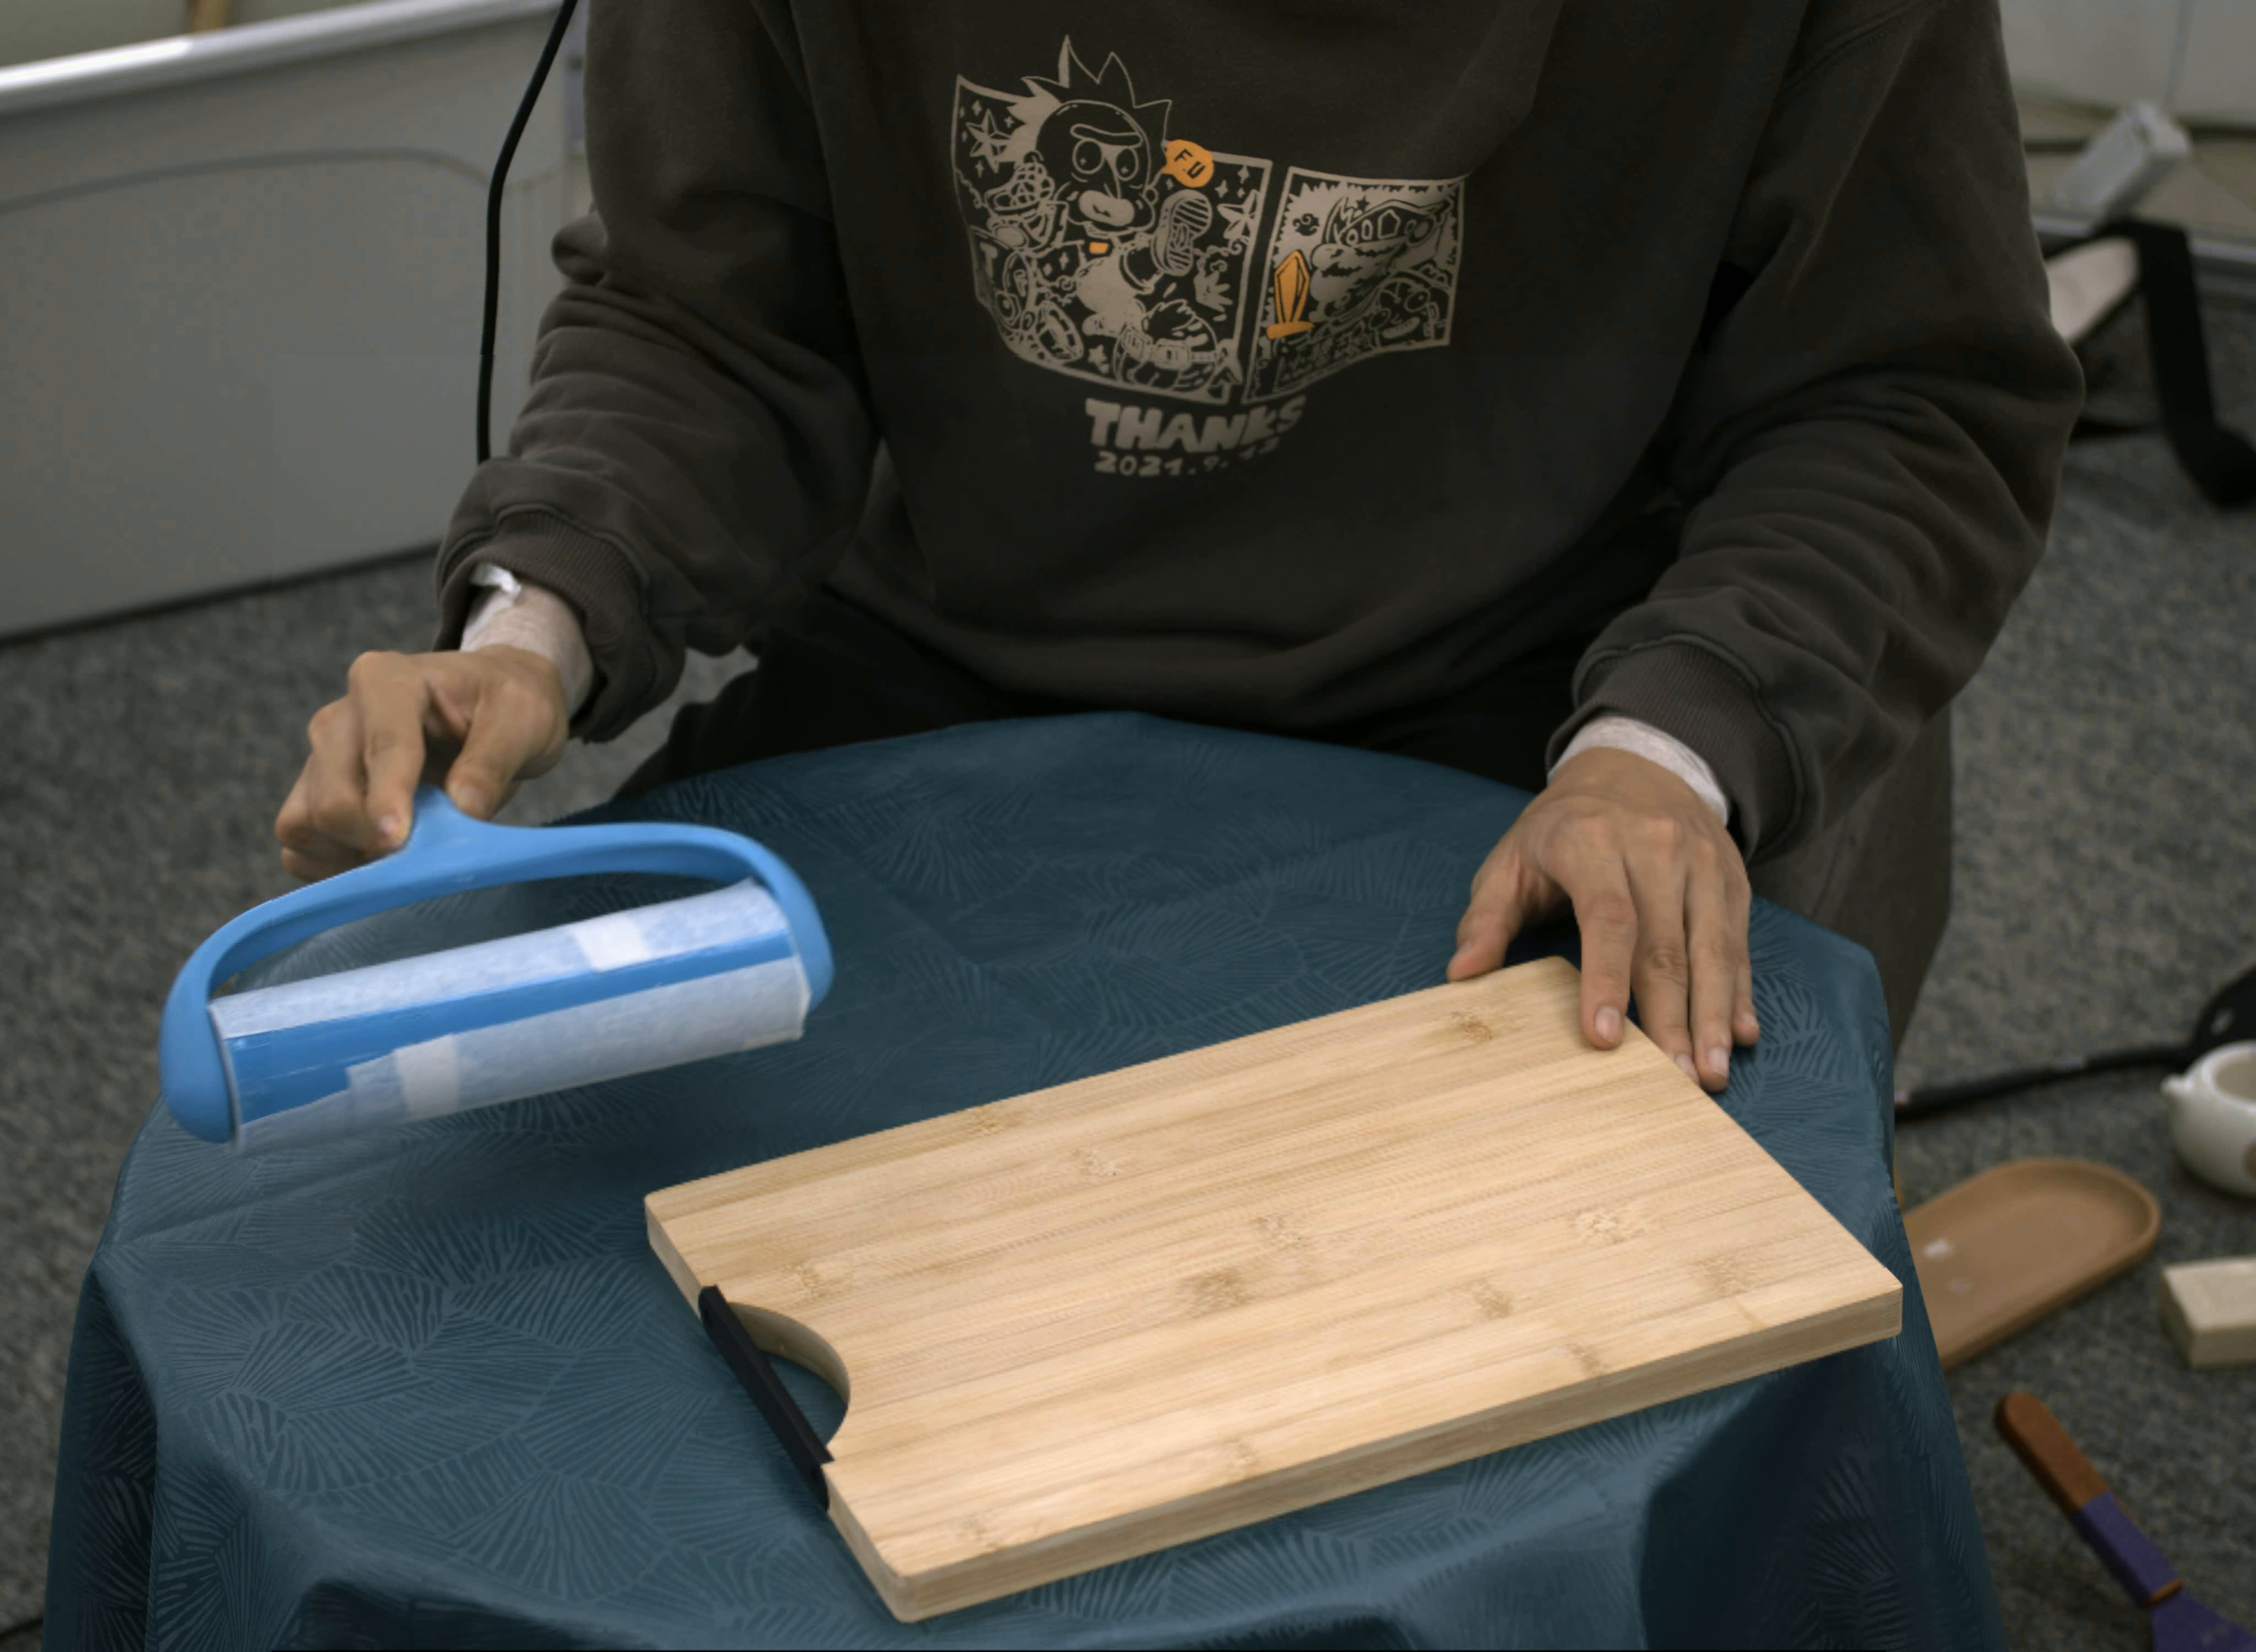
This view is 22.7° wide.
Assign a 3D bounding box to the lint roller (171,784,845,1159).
[{"bbox_3d":[-0.226,0.027,1.895,0.230,0.067,0.182,-14,42,-20],"label":"lint roller"}]

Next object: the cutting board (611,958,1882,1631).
[{"bbox_3d":[0.036,0.143,1.800,0.350,0.023,0.252,-14,29,-20],"label":"cutting board"}]
